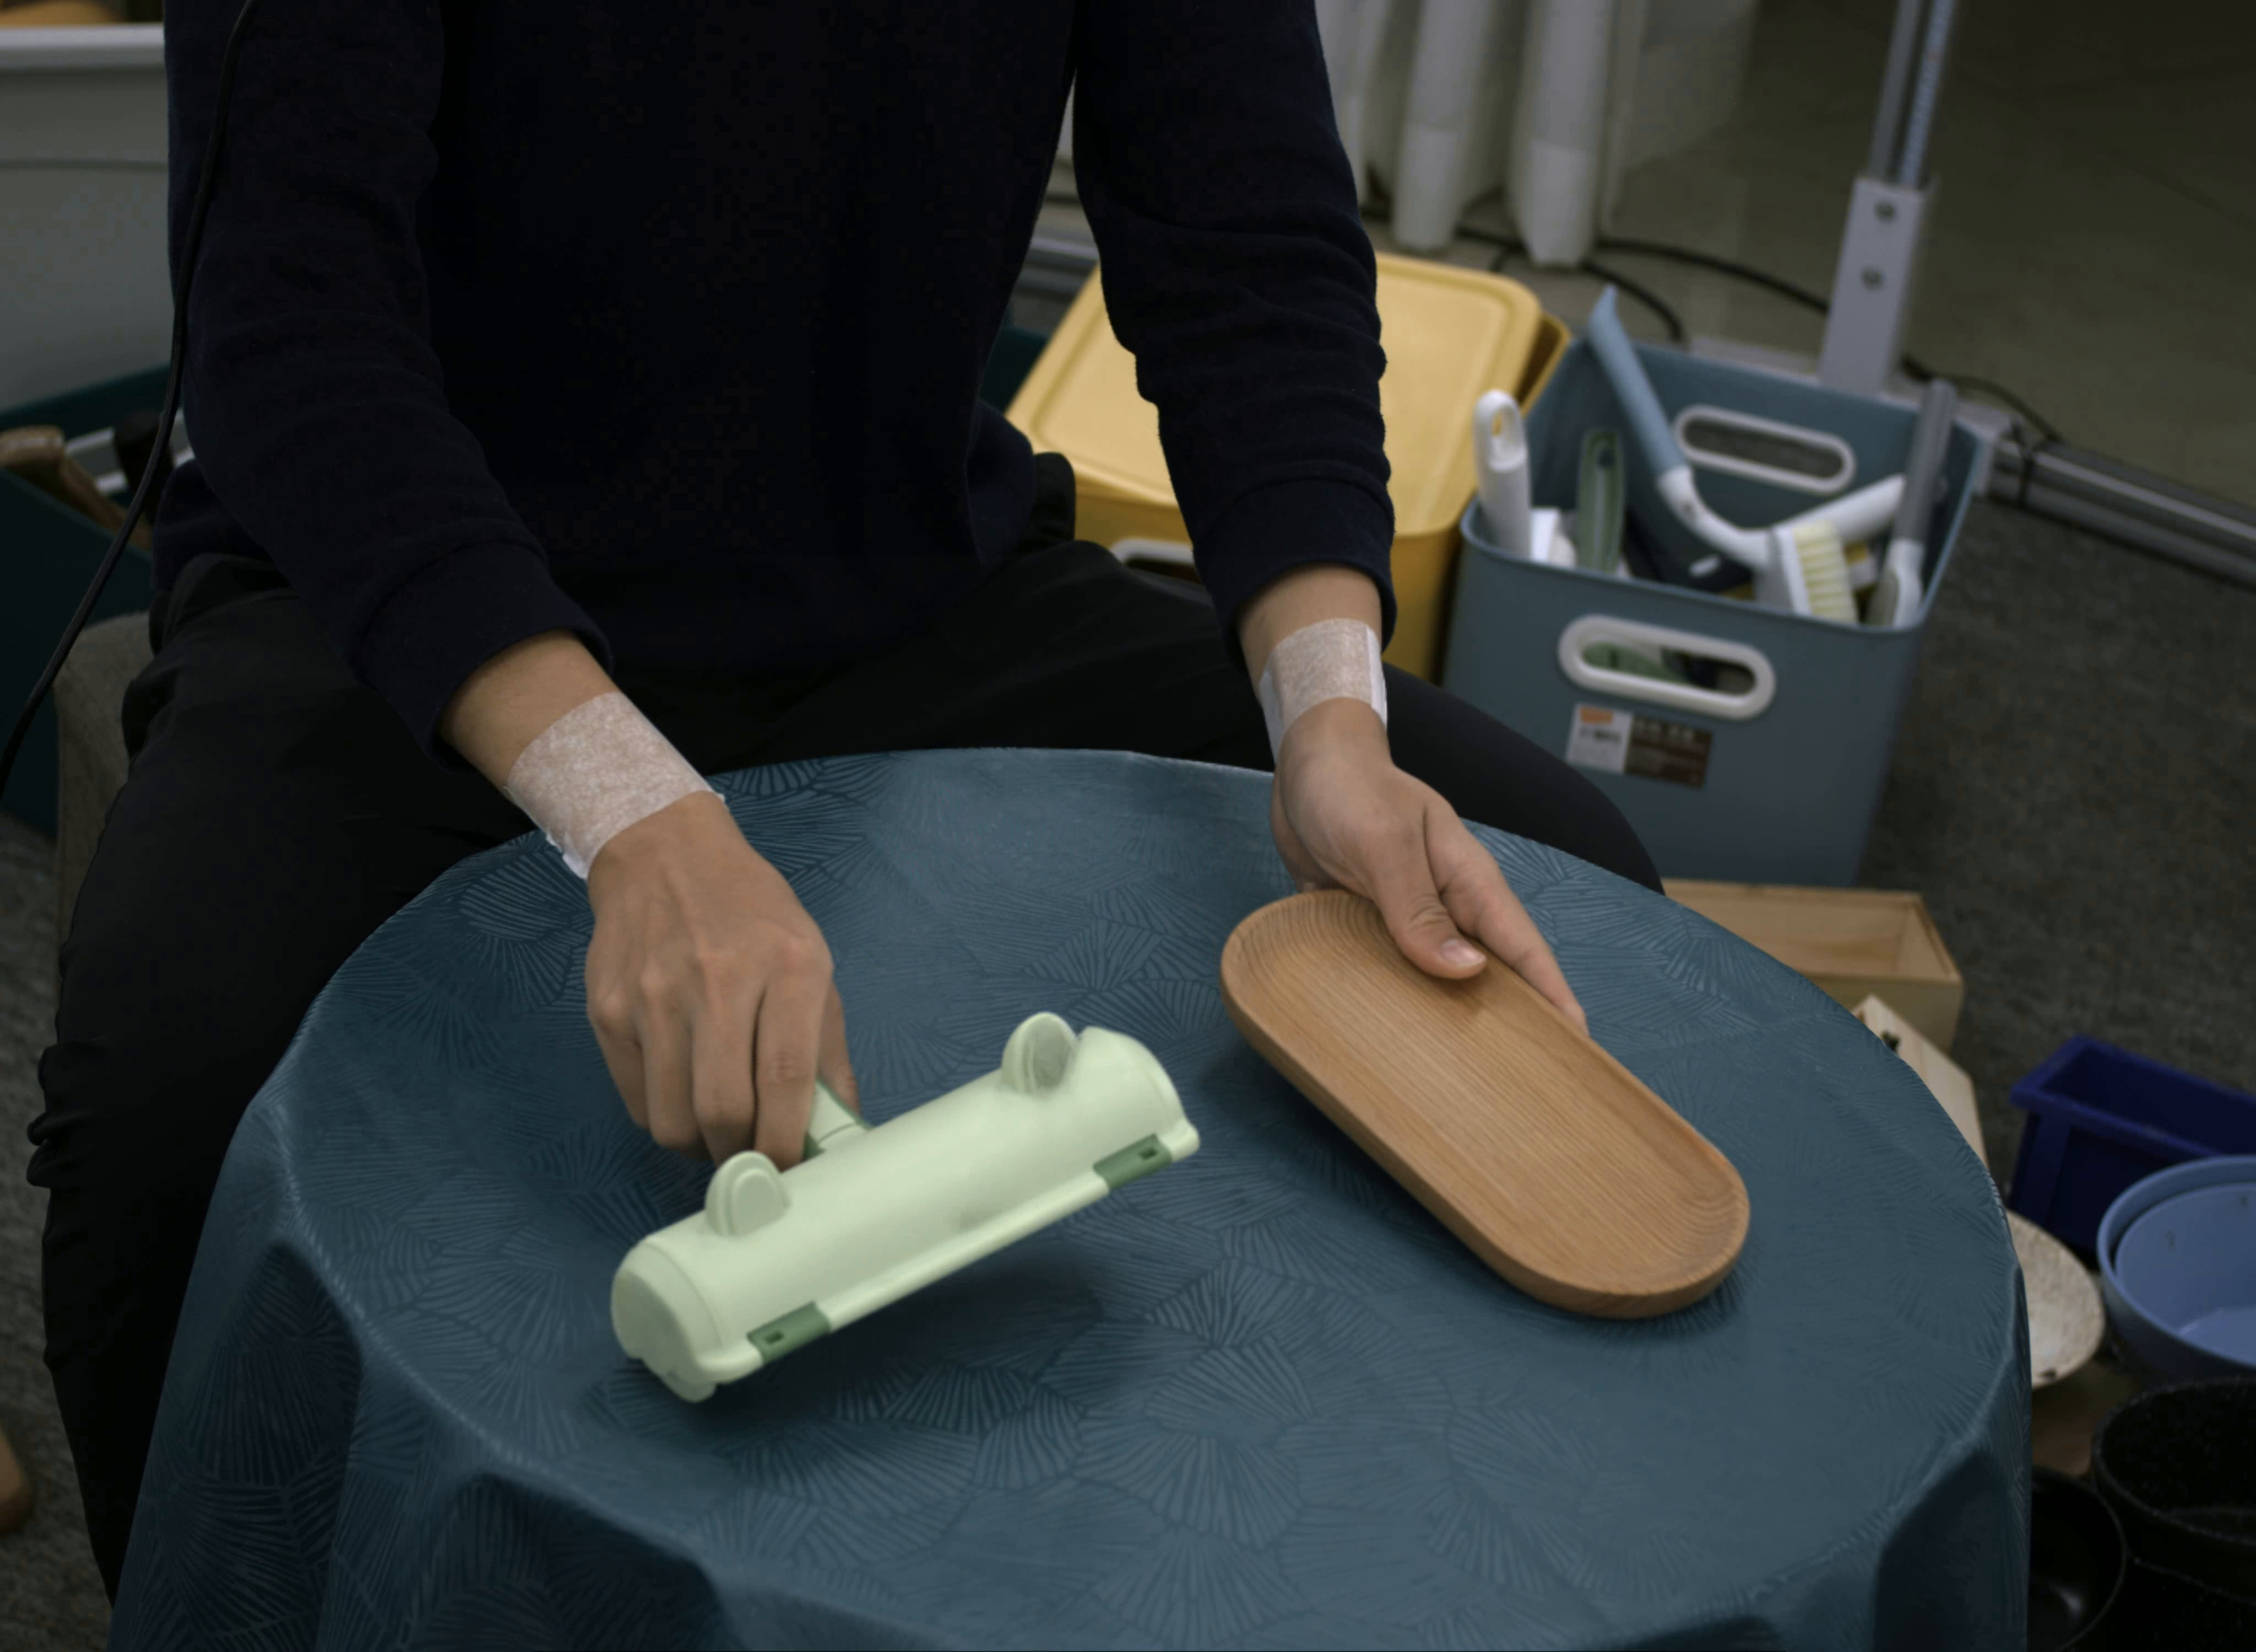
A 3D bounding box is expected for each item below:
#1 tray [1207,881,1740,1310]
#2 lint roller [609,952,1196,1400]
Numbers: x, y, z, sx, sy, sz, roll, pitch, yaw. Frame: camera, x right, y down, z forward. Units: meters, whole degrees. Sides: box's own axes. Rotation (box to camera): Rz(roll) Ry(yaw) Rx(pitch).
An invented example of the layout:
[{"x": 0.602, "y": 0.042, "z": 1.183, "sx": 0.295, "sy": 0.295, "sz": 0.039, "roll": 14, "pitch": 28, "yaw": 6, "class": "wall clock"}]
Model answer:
[{"x": 0.117, "y": 0.091, "z": 1.837, "sx": 0.101, "sy": 0.020, "sz": 0.233, "roll": -19, "pitch": 43, "yaw": -33, "class": "tray"}, {"x": -0.105, "y": 0.081, "z": 1.718, "sx": 0.198, "sy": 0.082, "sz": 0.185, "roll": -25, "pitch": 54, "yaw": -30, "class": "lint roller"}]
